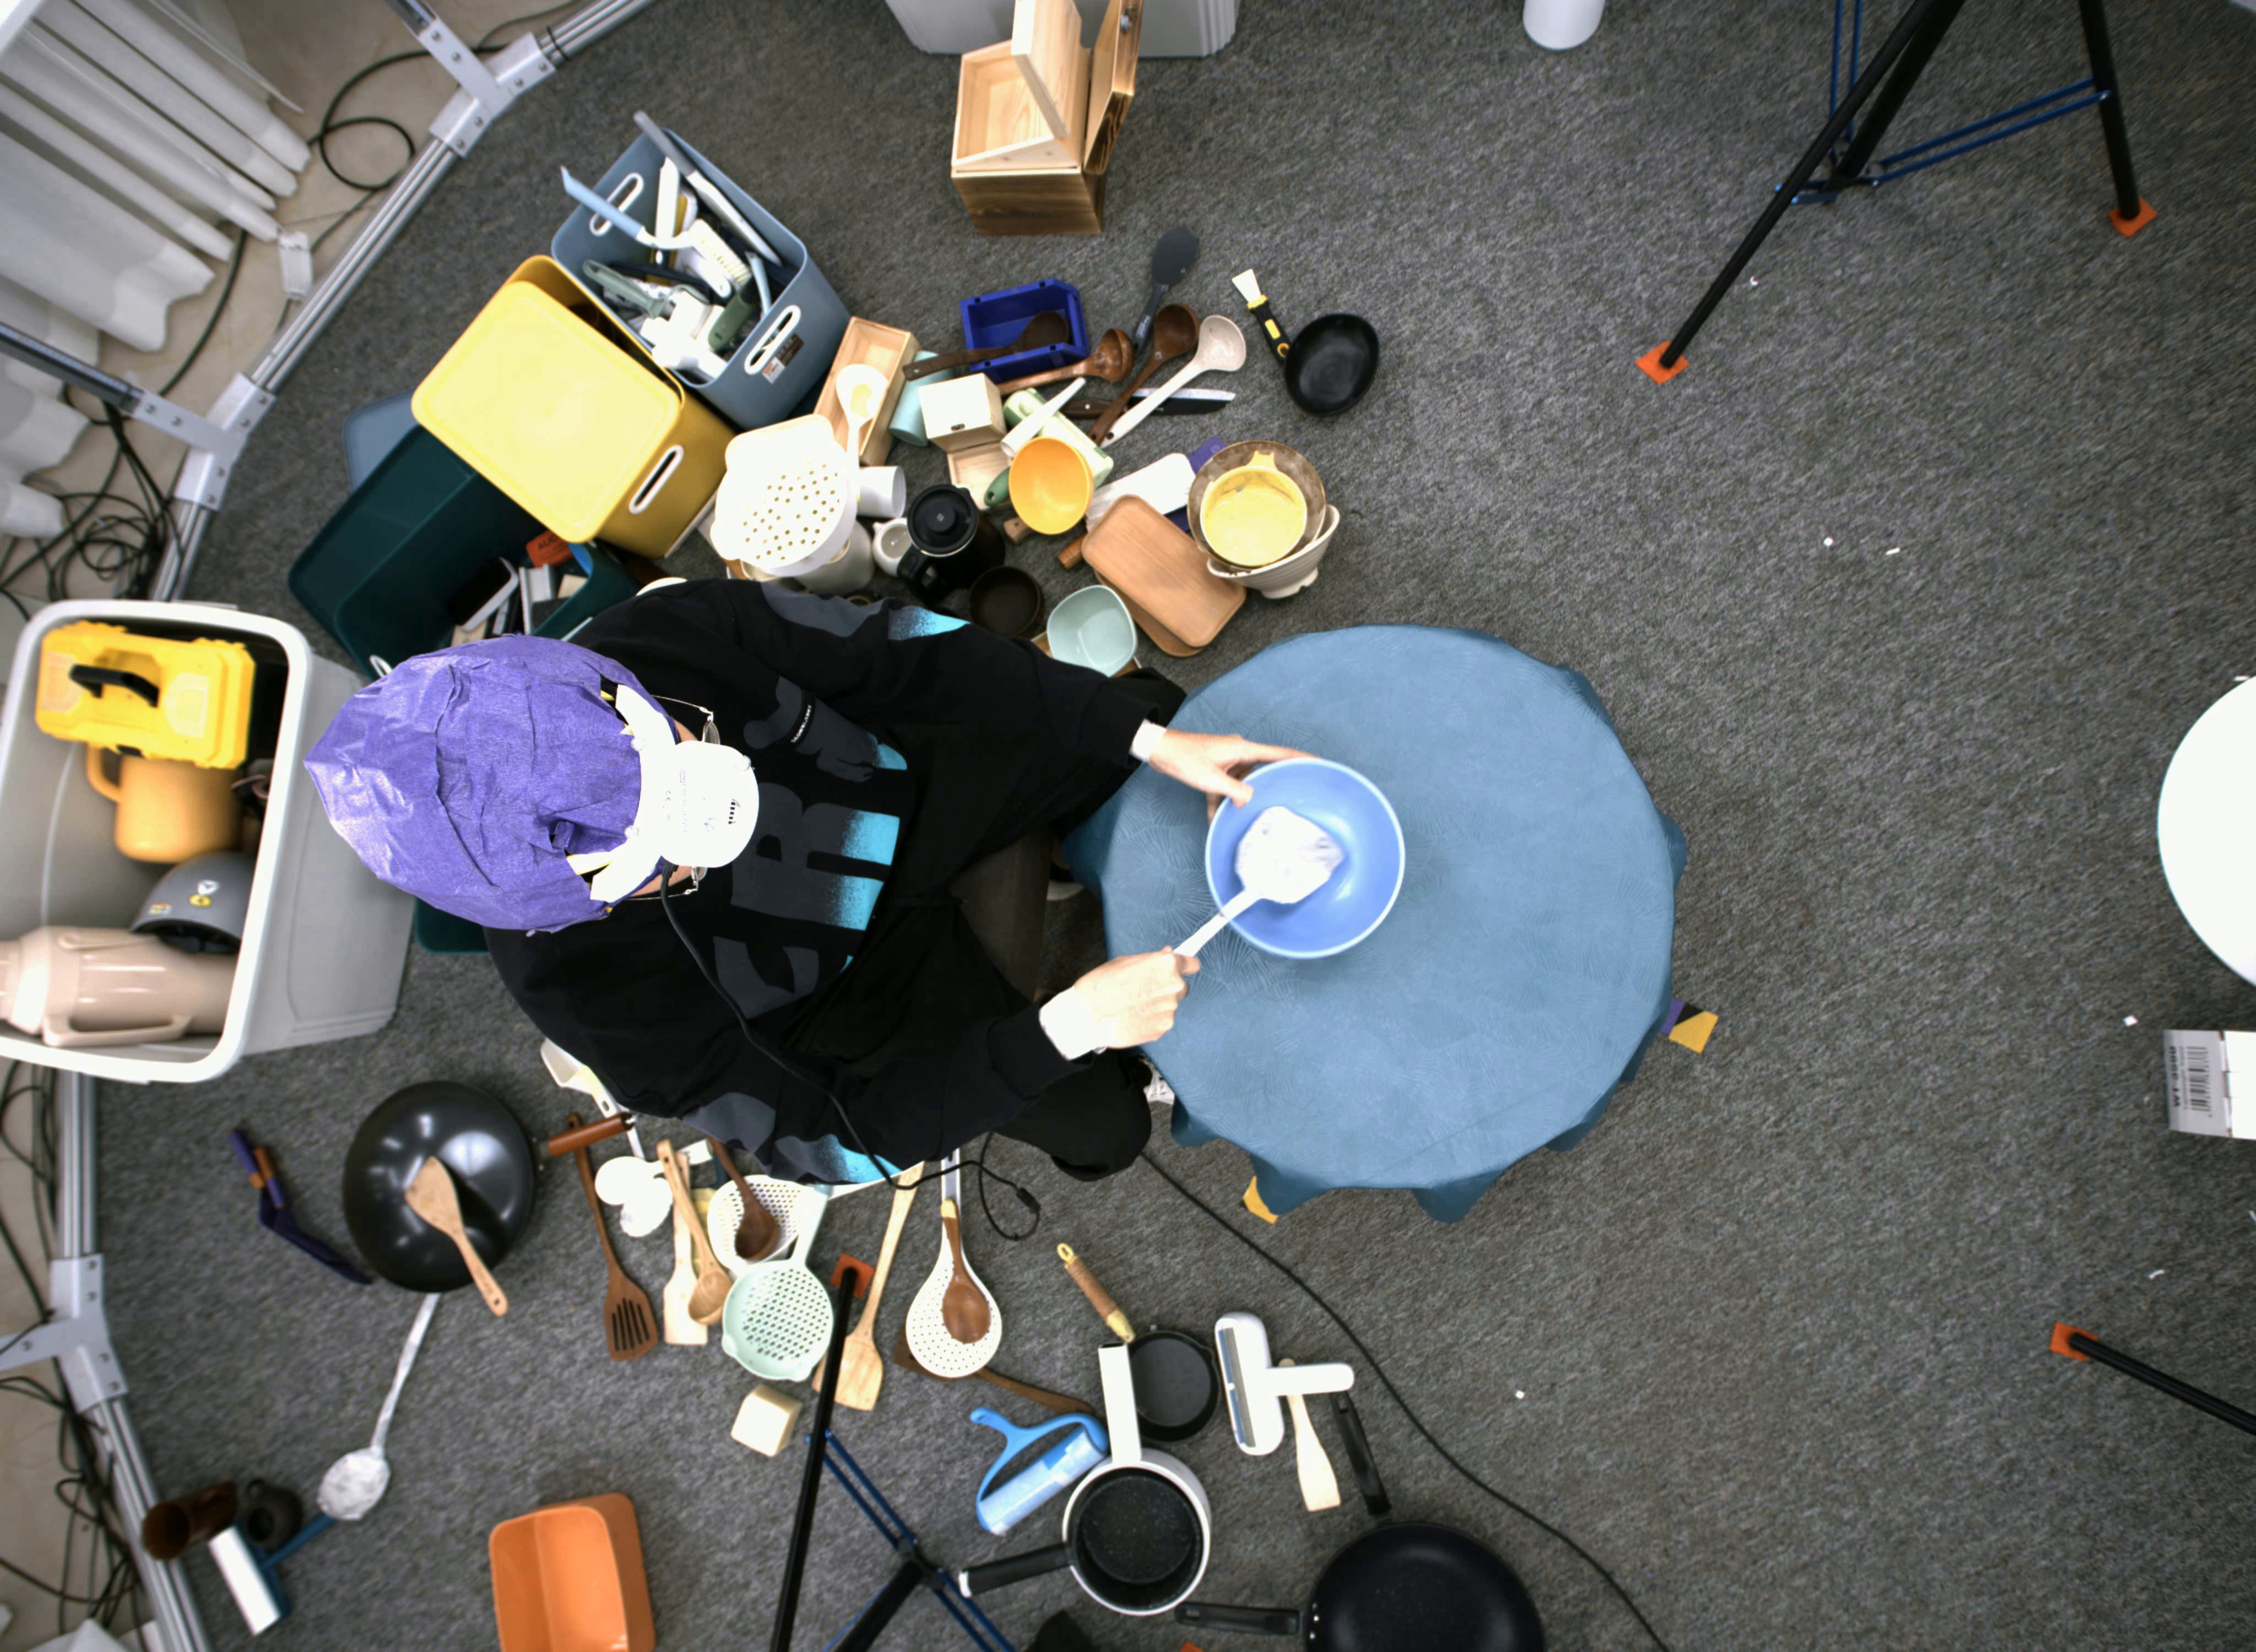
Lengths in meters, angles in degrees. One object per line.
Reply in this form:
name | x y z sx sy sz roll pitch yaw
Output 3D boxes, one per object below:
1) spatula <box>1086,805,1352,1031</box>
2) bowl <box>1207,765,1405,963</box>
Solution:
spatula | 0.086 0.091 1.333 0.098 0.357 0.046 36 137 20
bowl | 0.184 0.039 1.409 0.197 0.095 0.196 0 89 13
